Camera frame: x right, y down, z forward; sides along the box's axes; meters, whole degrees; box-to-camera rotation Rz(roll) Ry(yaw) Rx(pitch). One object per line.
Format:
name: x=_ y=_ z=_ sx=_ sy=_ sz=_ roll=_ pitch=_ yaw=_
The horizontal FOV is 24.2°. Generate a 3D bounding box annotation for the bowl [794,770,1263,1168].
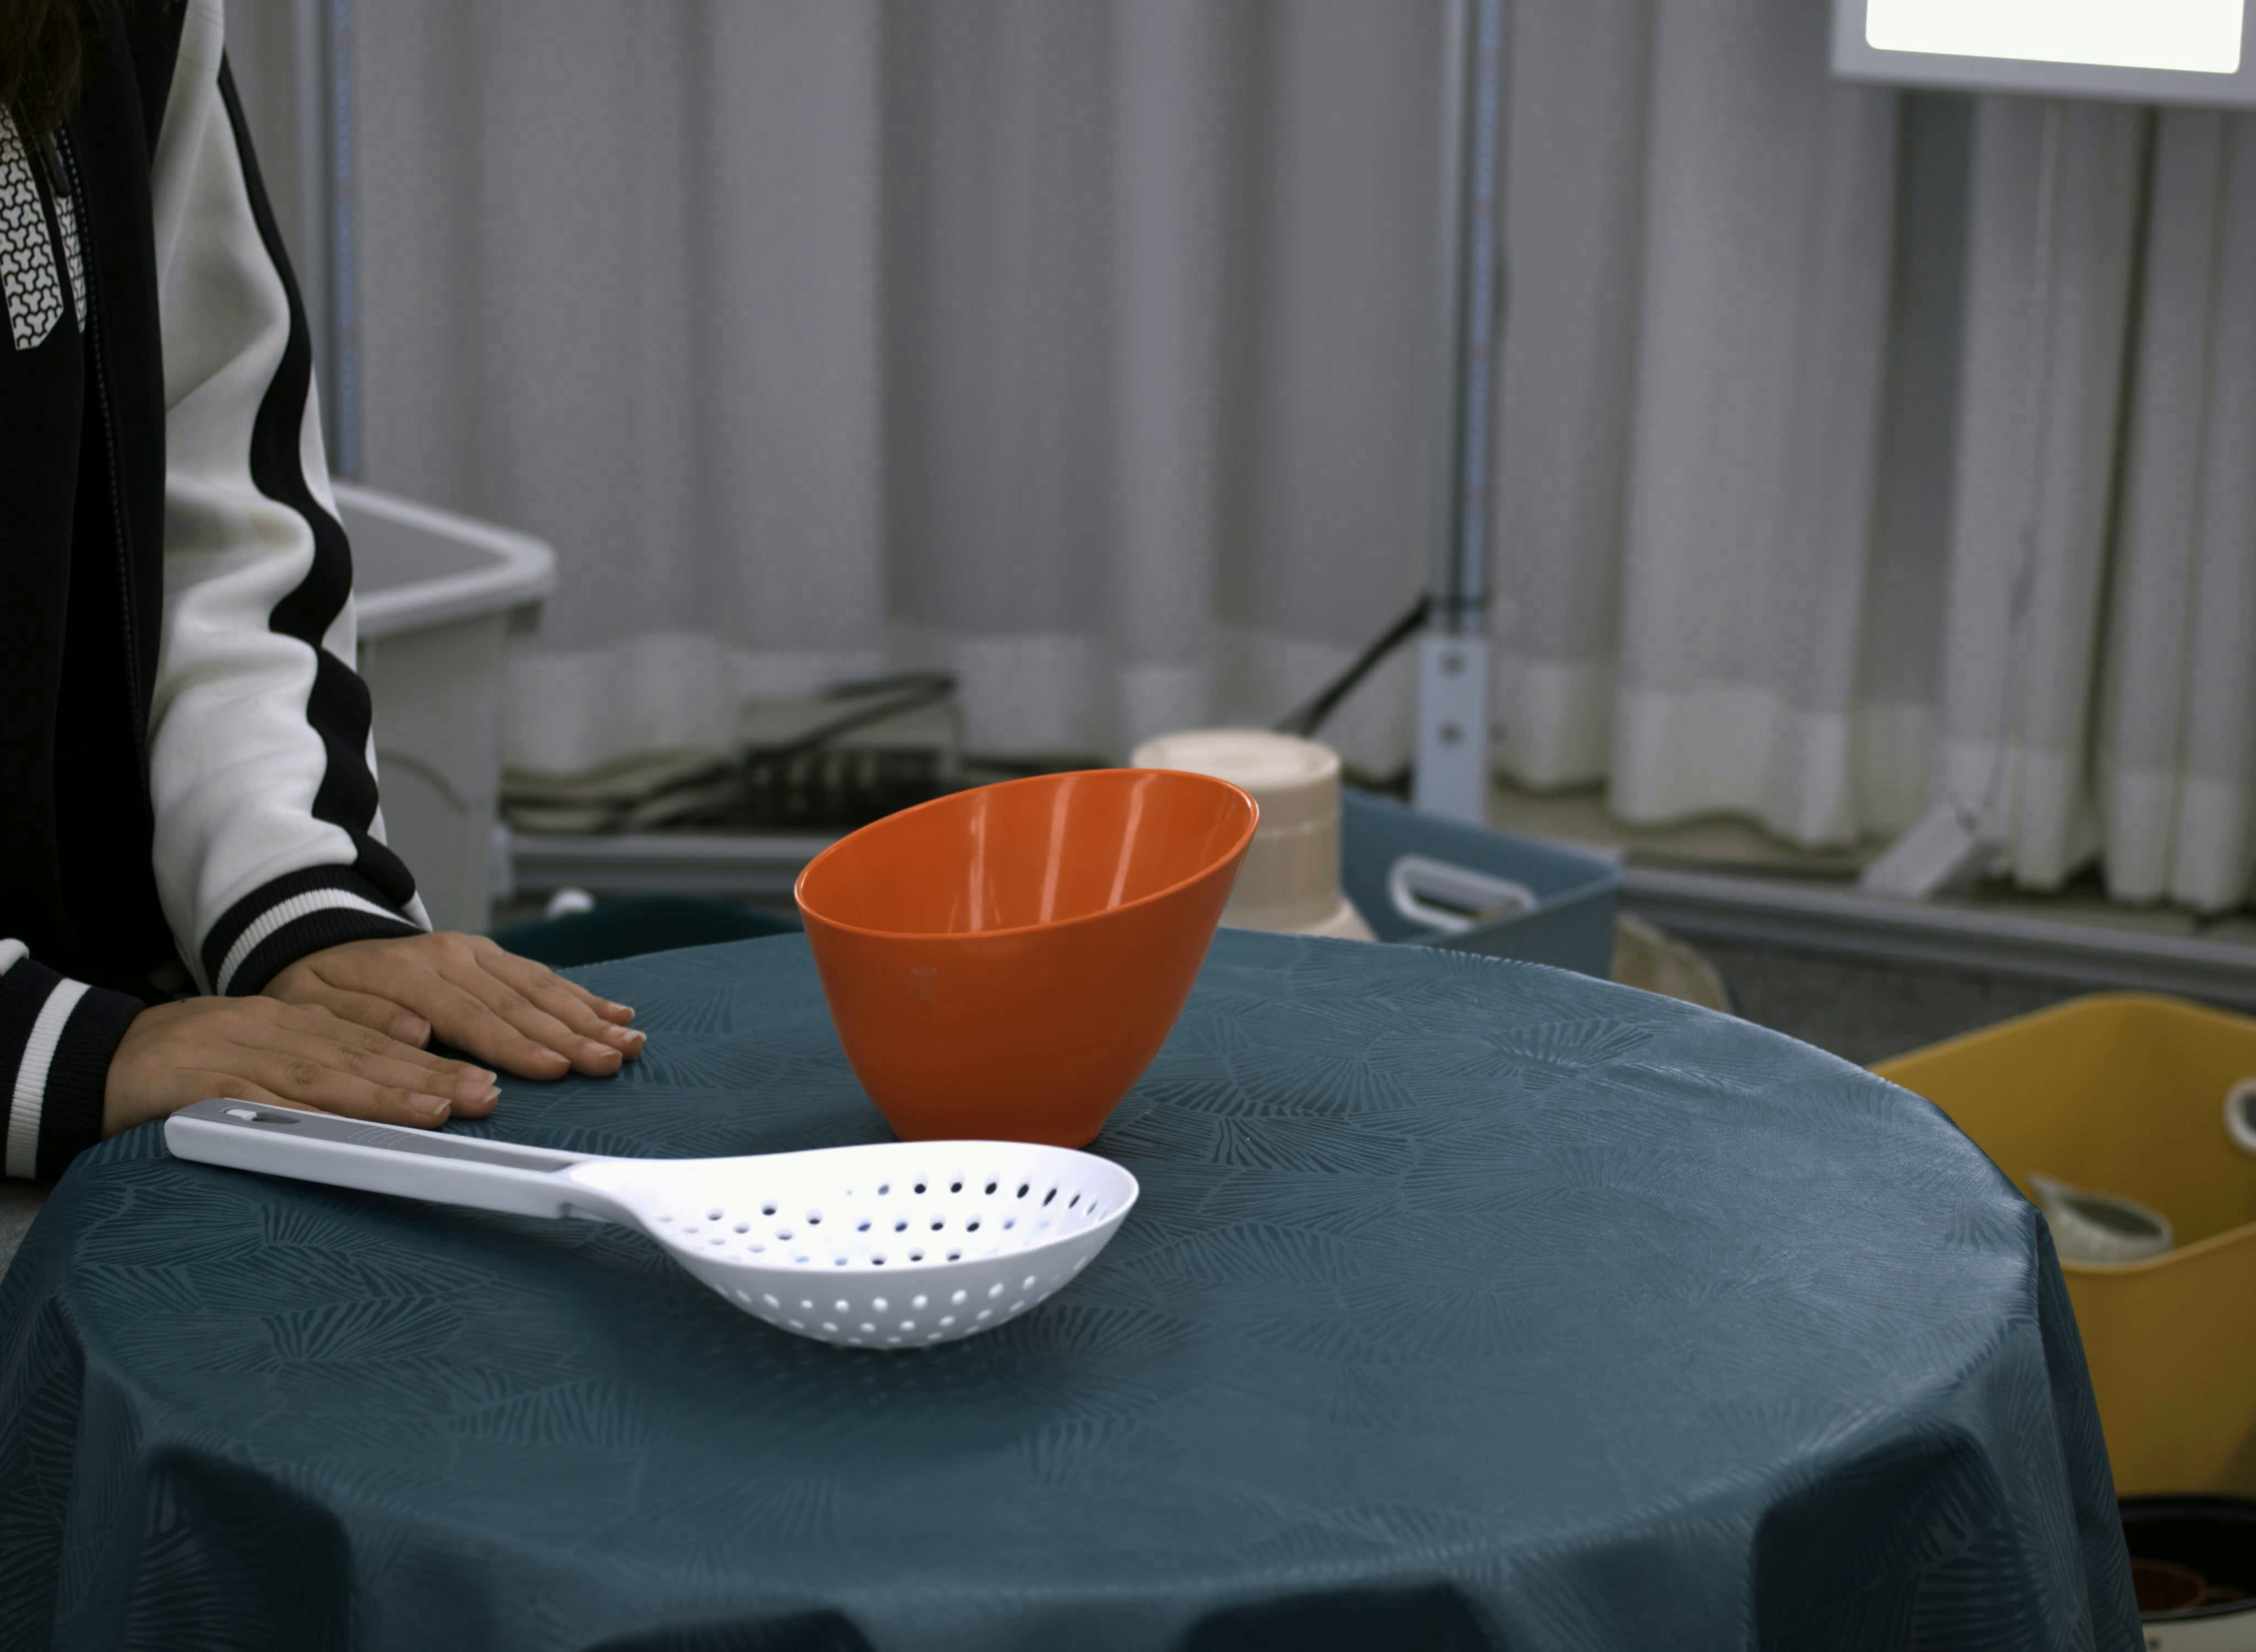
bowl: x=-0.031 y=0.048 z=1.665 sx=0.147 sy=0.105 sz=0.147 roll=1 pitch=18 yaw=0

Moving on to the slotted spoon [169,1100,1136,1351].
slotted spoon: x=-0.152 y=0.107 z=1.551 sx=0.345 sy=0.046 sz=0.136 roll=10 pitch=17 yaw=34
